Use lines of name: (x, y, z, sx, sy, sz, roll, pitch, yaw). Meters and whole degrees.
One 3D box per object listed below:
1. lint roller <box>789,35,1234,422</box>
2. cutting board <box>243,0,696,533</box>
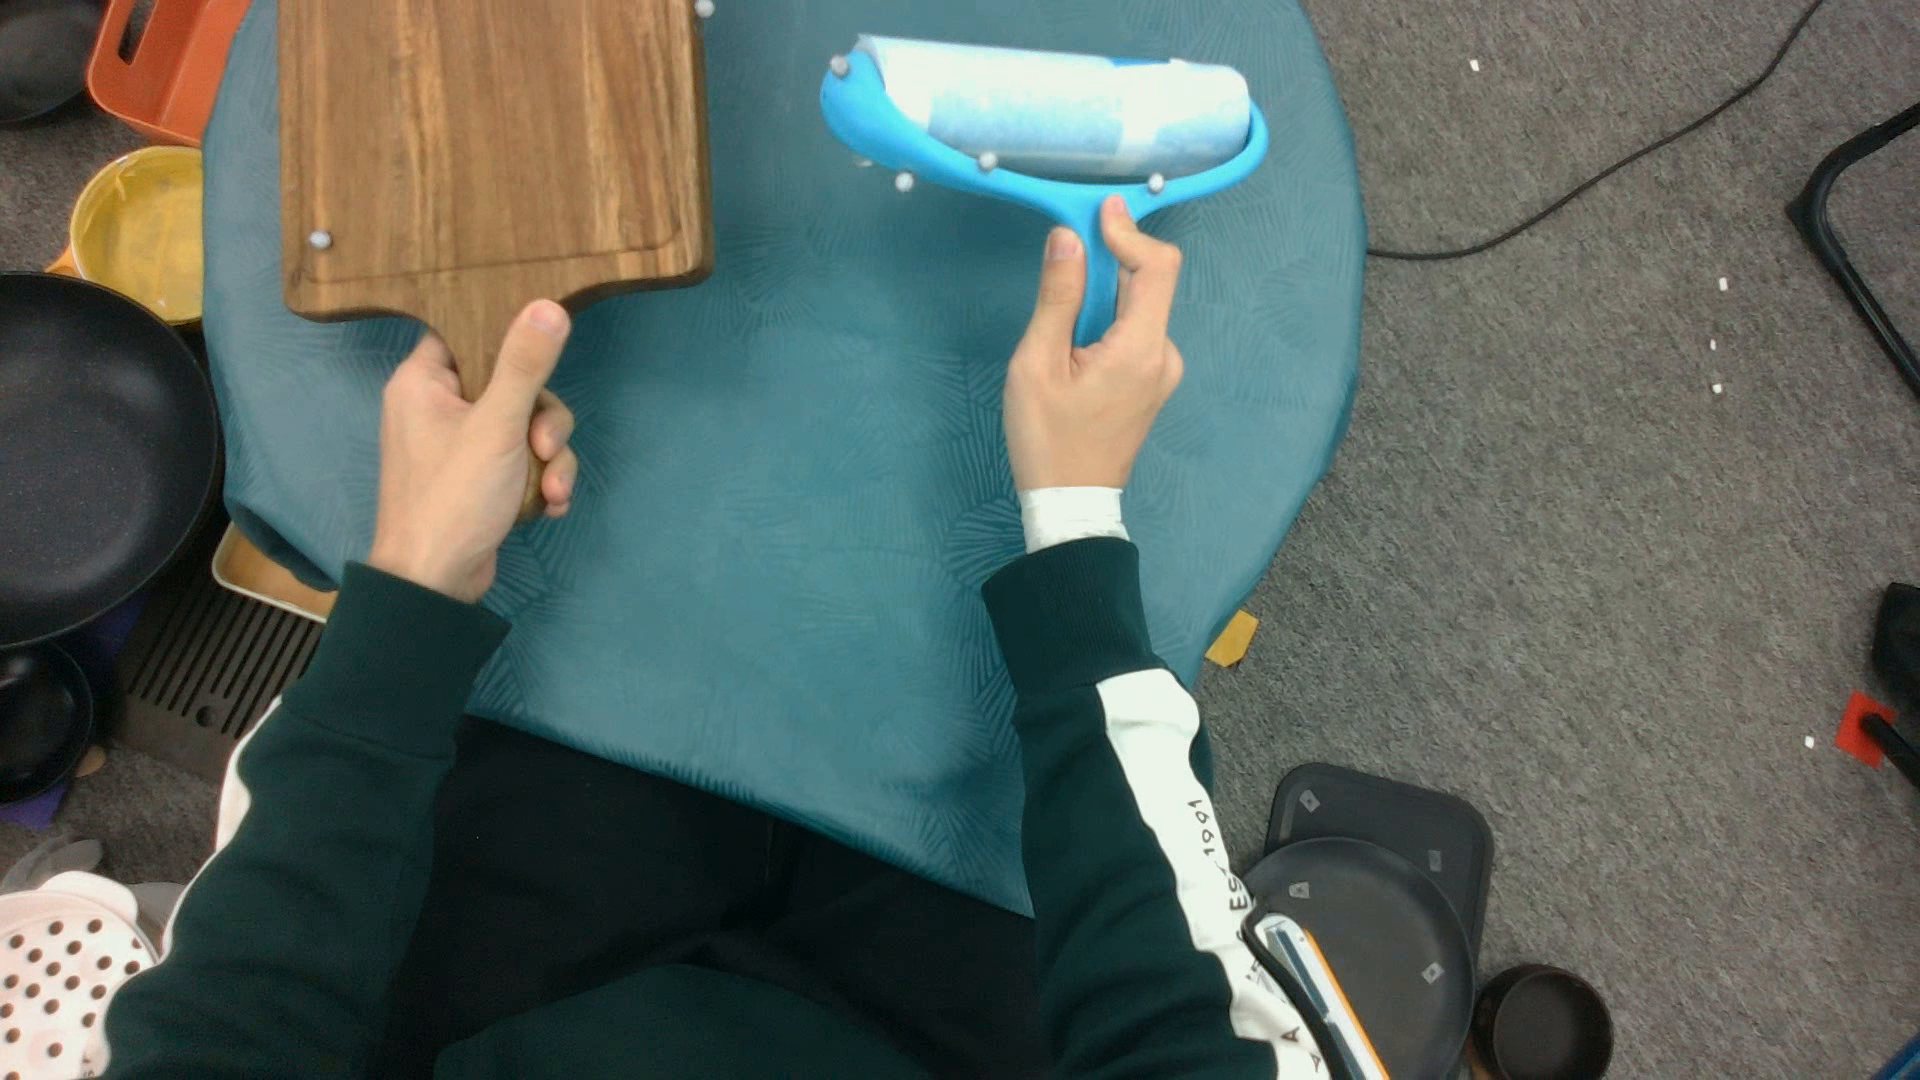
lint roller: (0.041, -0.150, 0.650, 0.229, 0.067, 0.180, -11, 87, -28)
cutting board: (-0.222, -0.178, 0.618, 0.201, 0.023, 0.352, -7, 84, 8)
